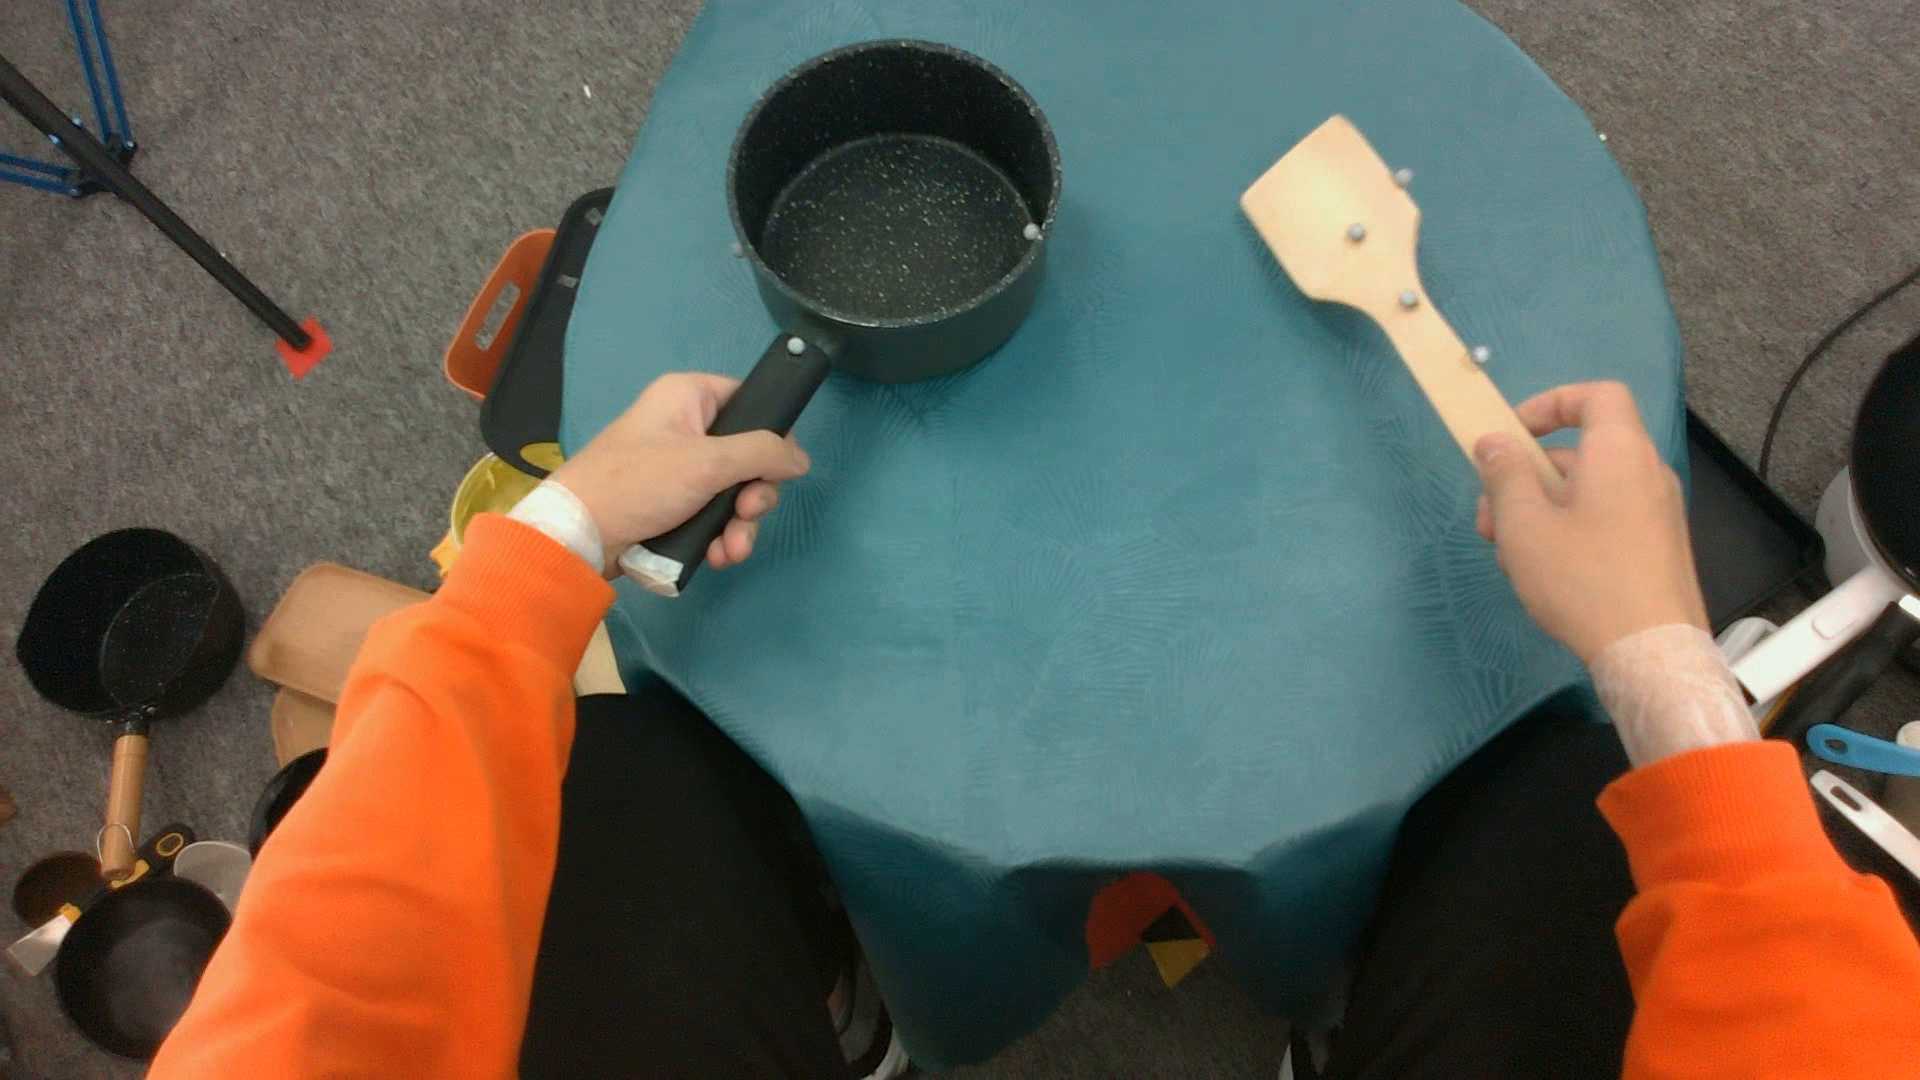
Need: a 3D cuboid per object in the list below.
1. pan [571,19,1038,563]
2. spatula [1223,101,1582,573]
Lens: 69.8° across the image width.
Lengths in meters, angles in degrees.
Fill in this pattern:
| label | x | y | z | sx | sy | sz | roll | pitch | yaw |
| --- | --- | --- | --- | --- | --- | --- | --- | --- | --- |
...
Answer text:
| label | x | y | z | sx | sy | sz | roll | pitch | yaw |
| --- | --- | --- | --- | --- | --- | --- | --- | --- | --- |
| pan | -0.084 | -0.118 | 0.705 | 0.172 | 0.086 | 0.330 | 27 | 70 | 9 |
| spatula | 0.214 | -0.104 | 0.668 | 0.072 | 0.010 | 0.294 | -36 | 53 | 22 |
